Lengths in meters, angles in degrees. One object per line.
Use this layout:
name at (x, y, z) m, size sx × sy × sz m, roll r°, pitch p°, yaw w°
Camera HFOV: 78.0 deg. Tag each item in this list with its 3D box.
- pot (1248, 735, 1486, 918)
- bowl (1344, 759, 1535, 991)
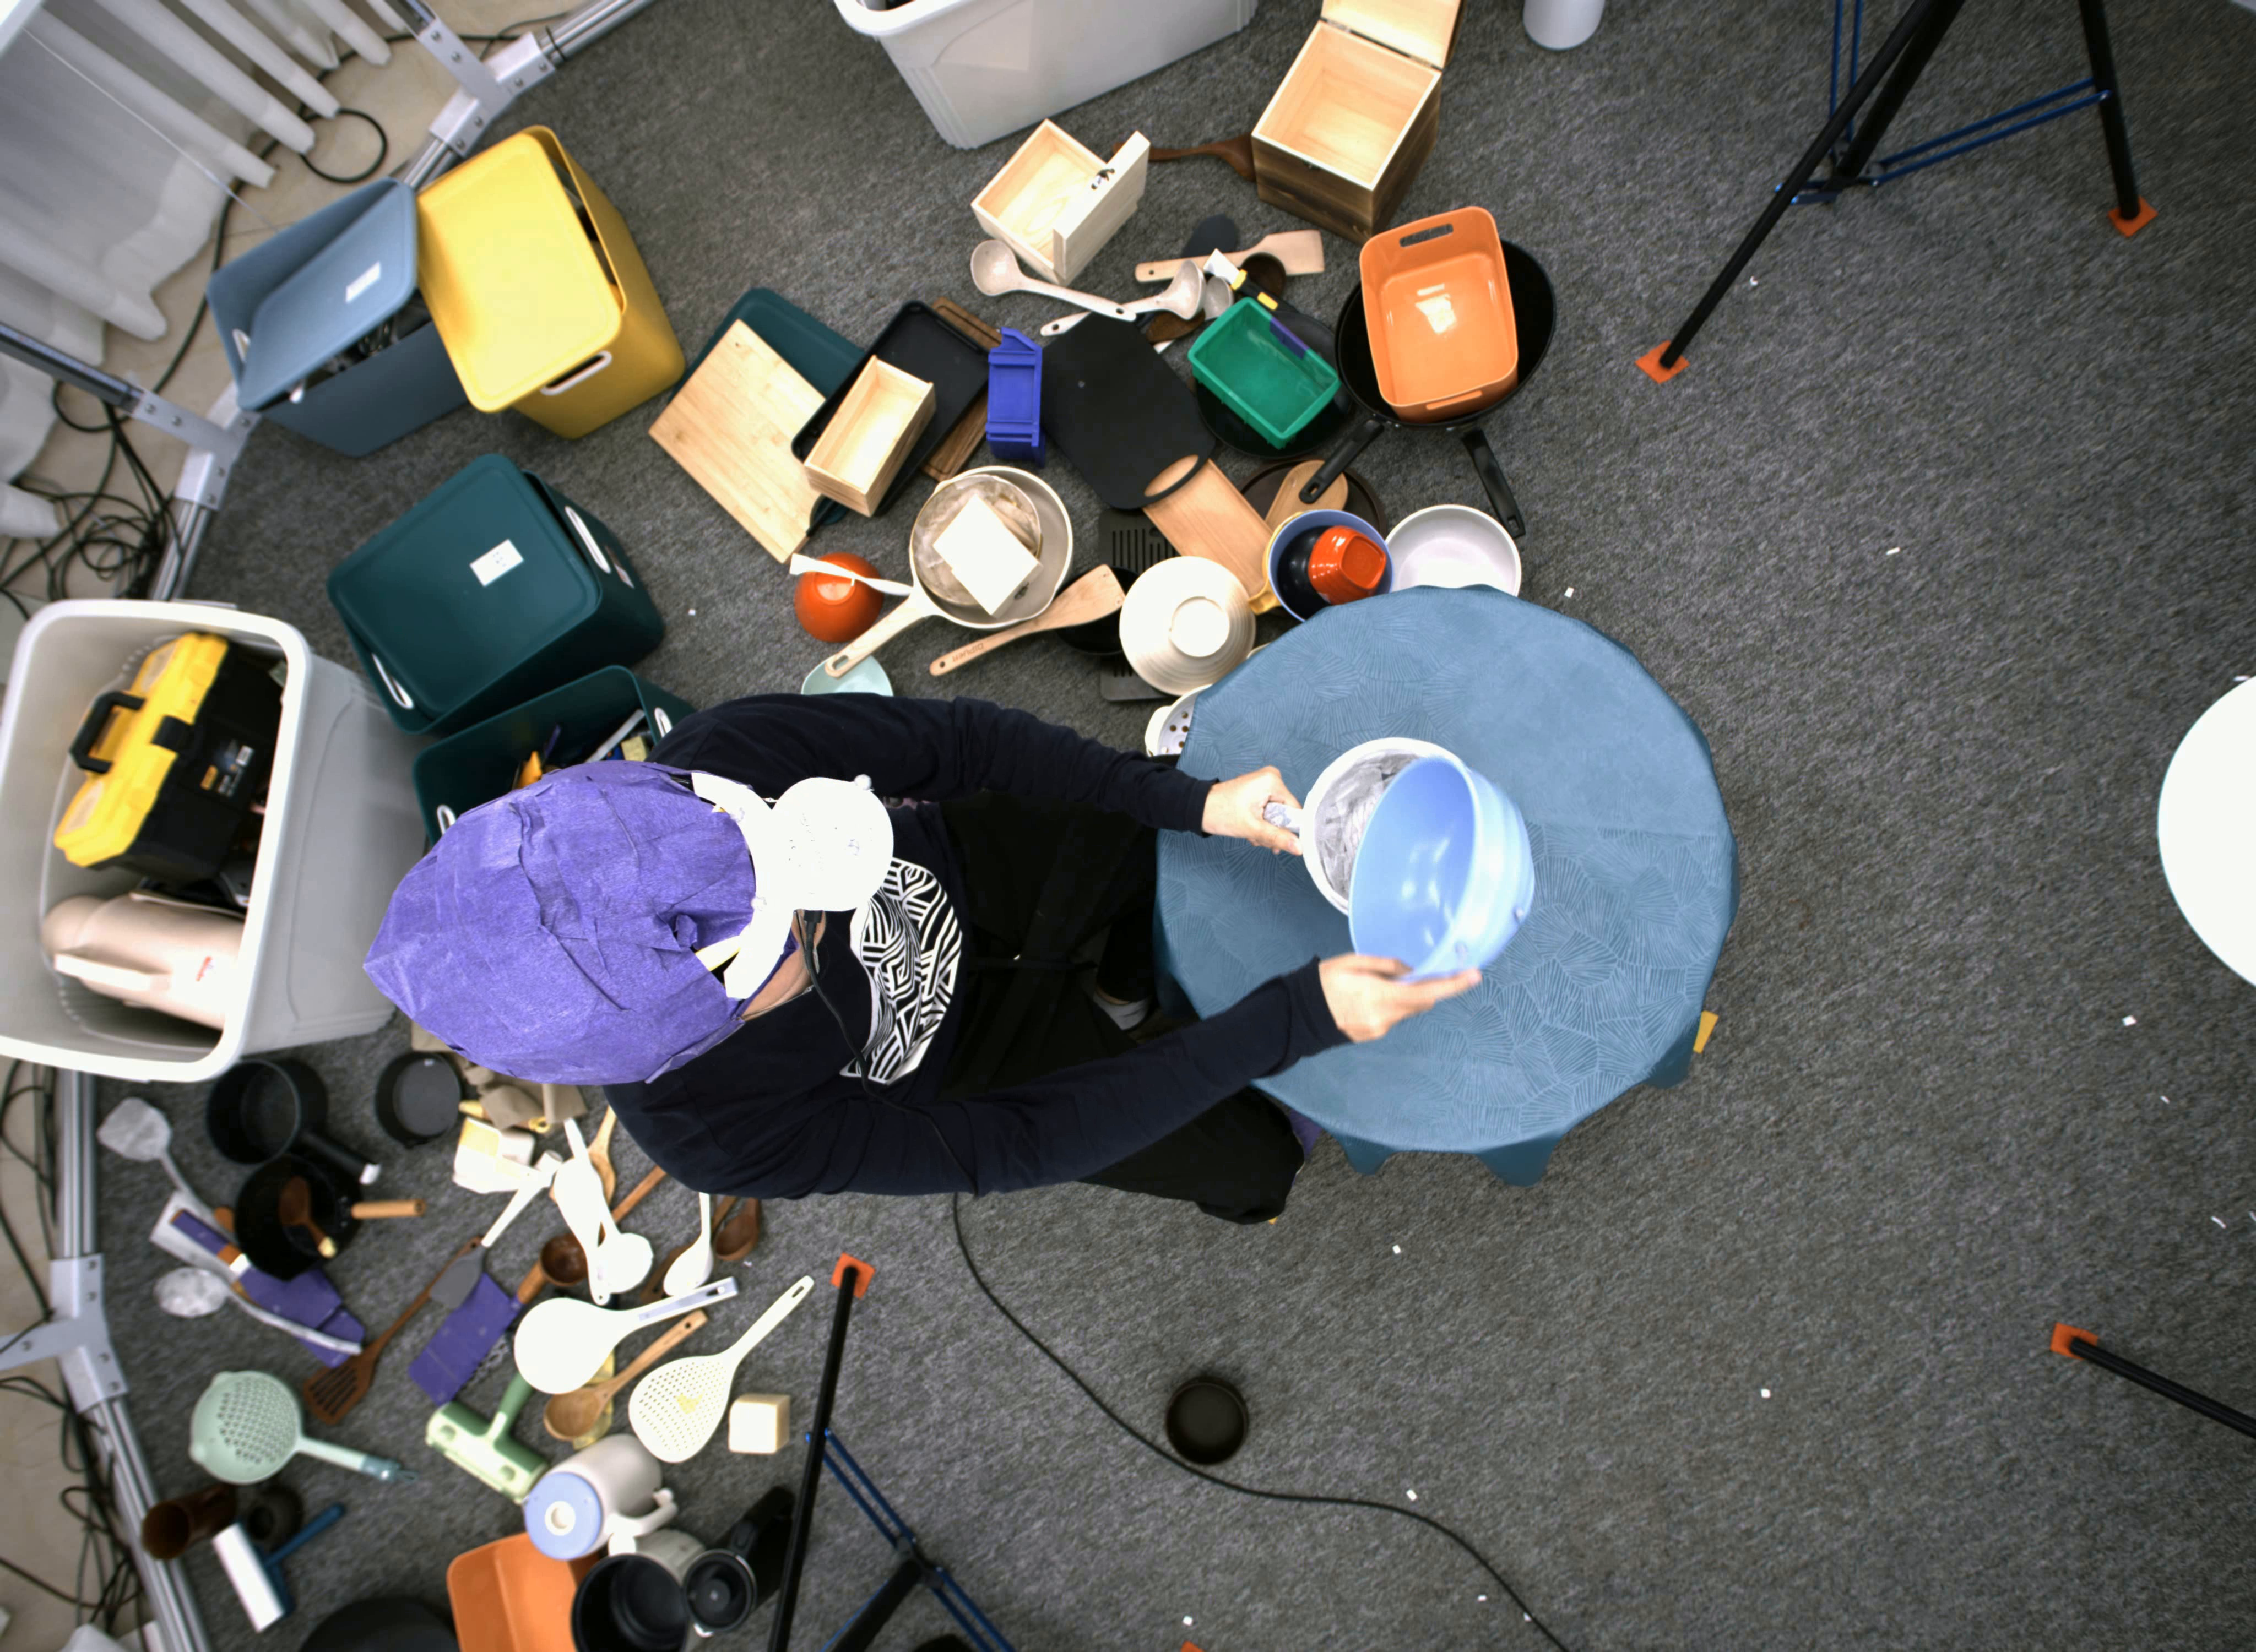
pot at (0.231, 0.006, 1.337) m, size 0.234 × 0.137 × 0.178 m, roll 7°, pitch 86°, yaw 9°
bowl at (0.275, 0.048, 1.159) m, size 0.095 × 0.197 × 0.196 m, roll 13°, pitch 87°, yaw -23°
